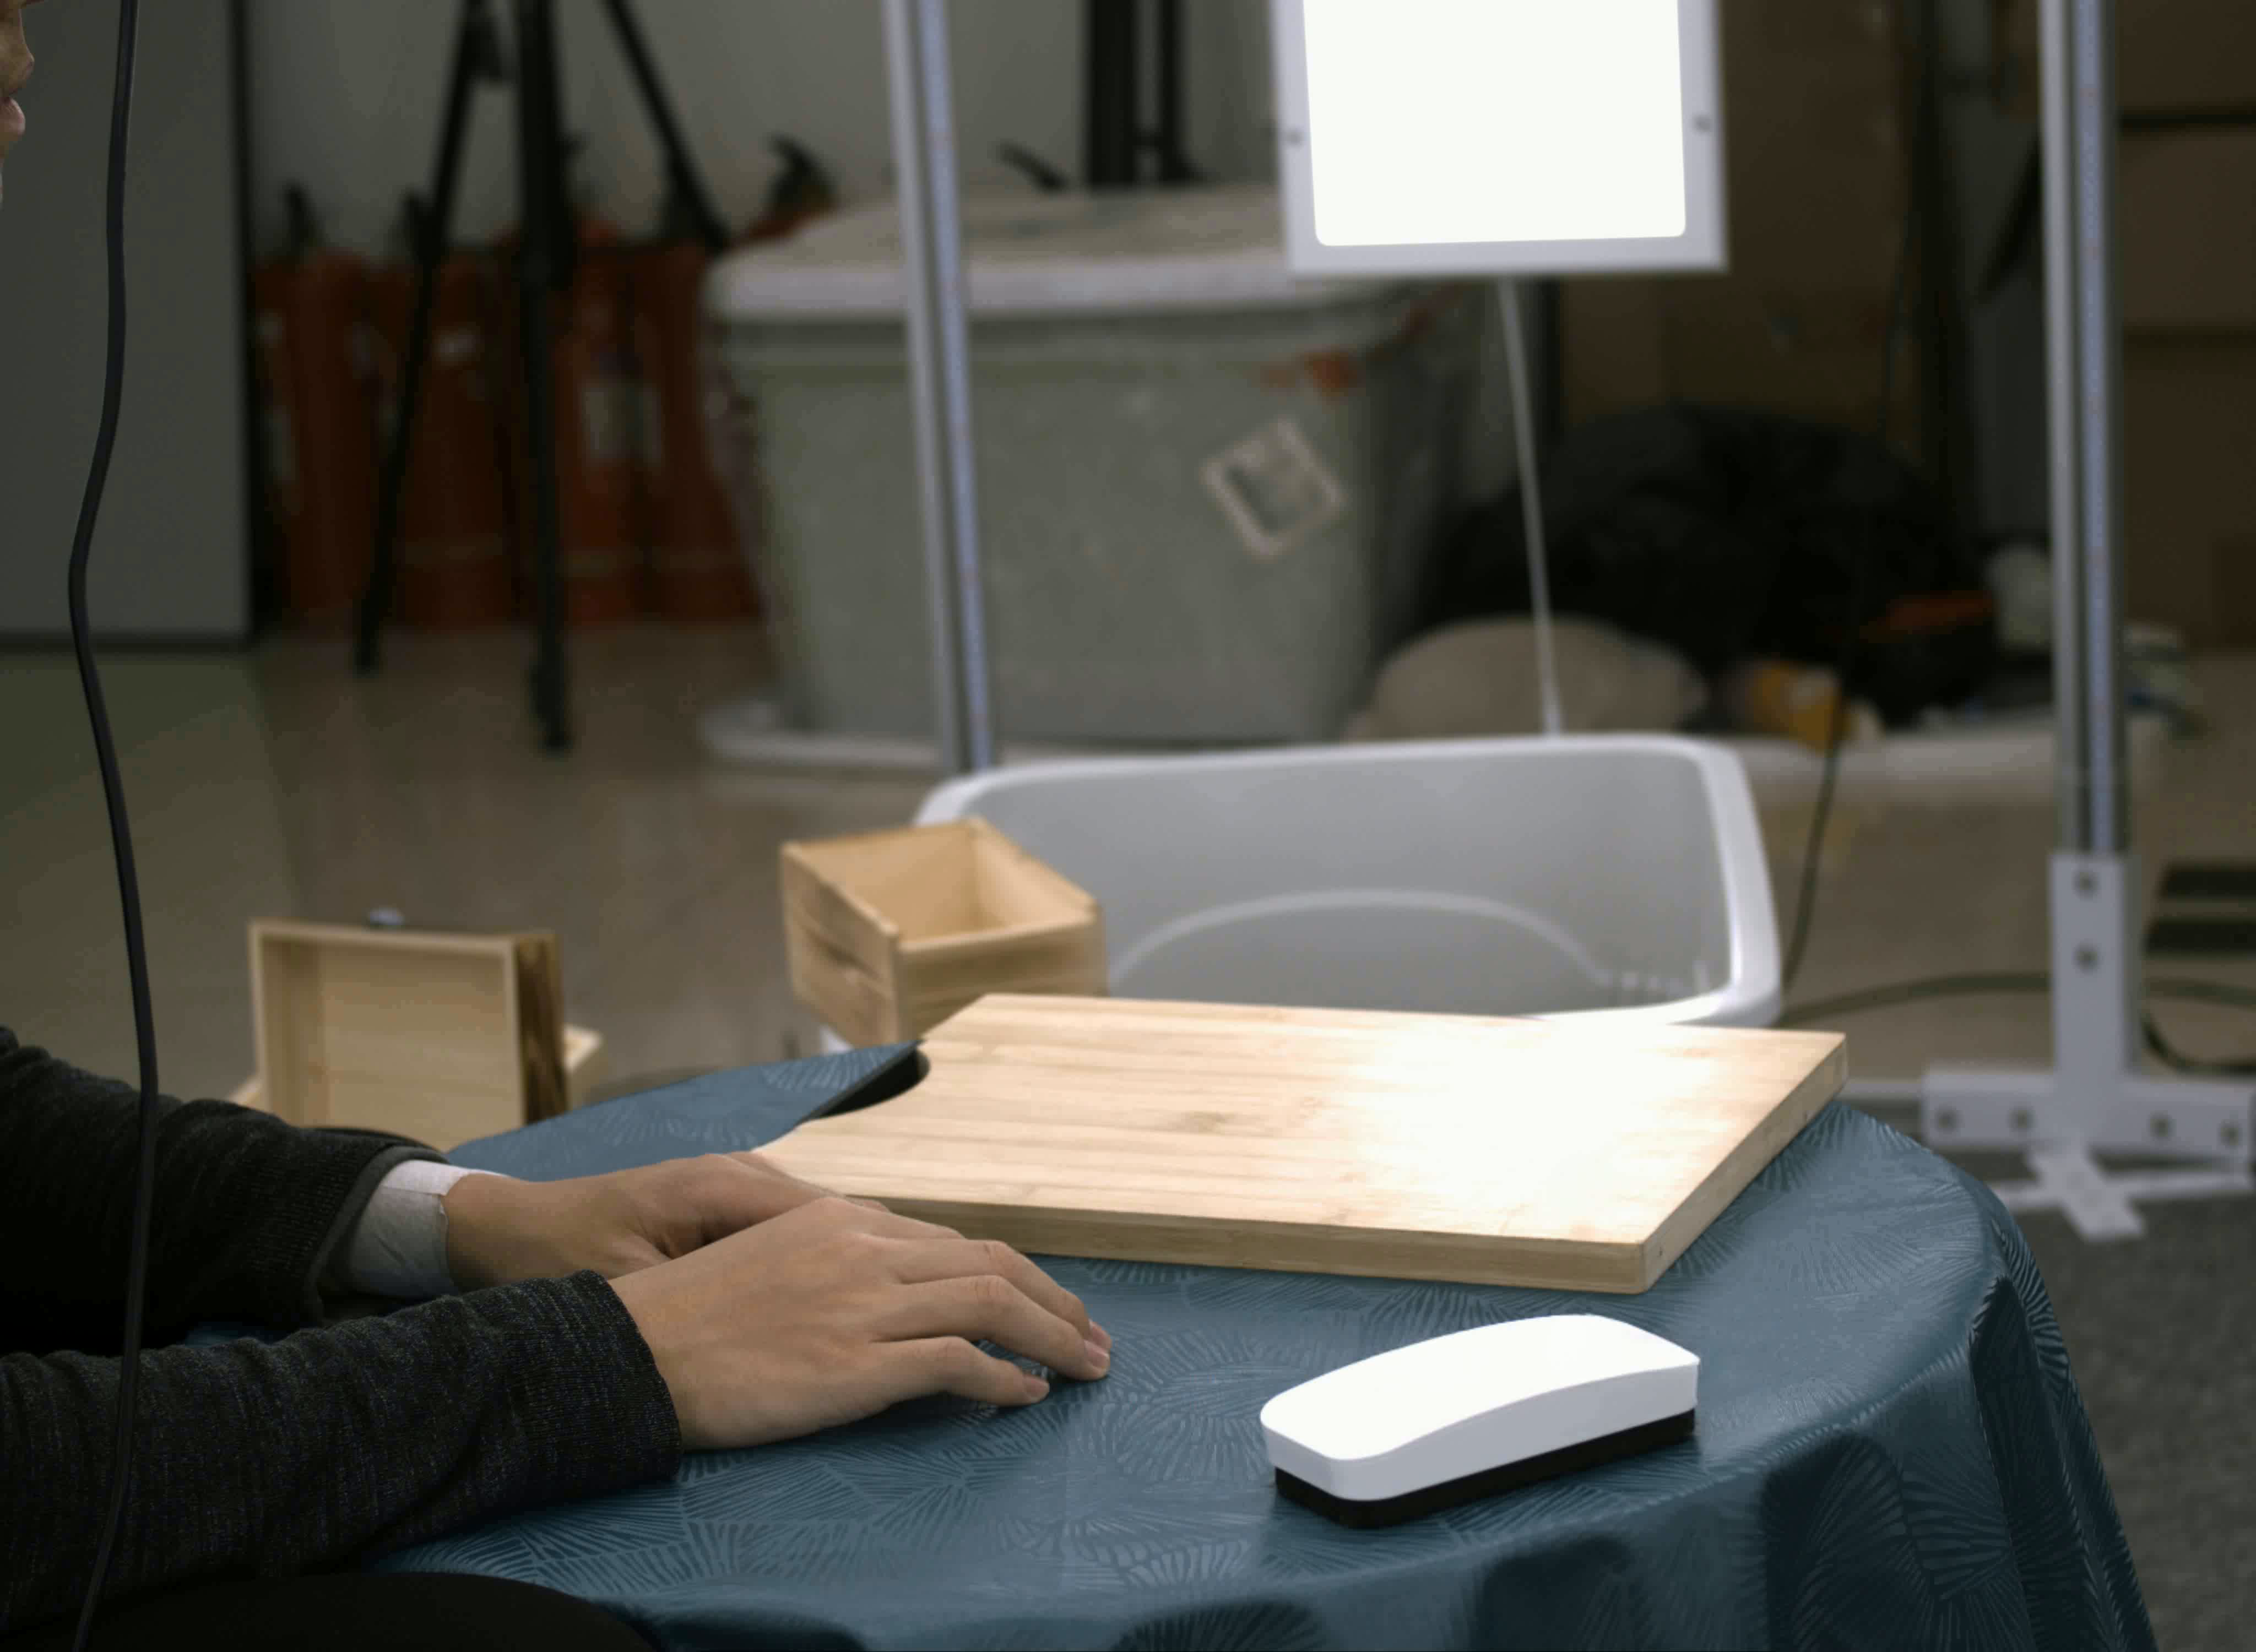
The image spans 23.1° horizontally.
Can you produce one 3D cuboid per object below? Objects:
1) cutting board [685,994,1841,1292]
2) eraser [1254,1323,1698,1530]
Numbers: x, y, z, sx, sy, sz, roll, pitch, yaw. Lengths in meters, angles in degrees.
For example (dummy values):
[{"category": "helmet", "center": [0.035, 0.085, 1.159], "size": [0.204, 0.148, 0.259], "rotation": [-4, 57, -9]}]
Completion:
[{"category": "cutting board", "center": [0.051, 0.107, 1.925], "size": [0.354, 0.023, 0.246], "rotation": [1, 15, 25]}, {"category": "eraser", "center": [0.103, 0.172, 1.612], "size": [0.128, 0.034, 0.064], "rotation": [-11, 15, -26]}]
